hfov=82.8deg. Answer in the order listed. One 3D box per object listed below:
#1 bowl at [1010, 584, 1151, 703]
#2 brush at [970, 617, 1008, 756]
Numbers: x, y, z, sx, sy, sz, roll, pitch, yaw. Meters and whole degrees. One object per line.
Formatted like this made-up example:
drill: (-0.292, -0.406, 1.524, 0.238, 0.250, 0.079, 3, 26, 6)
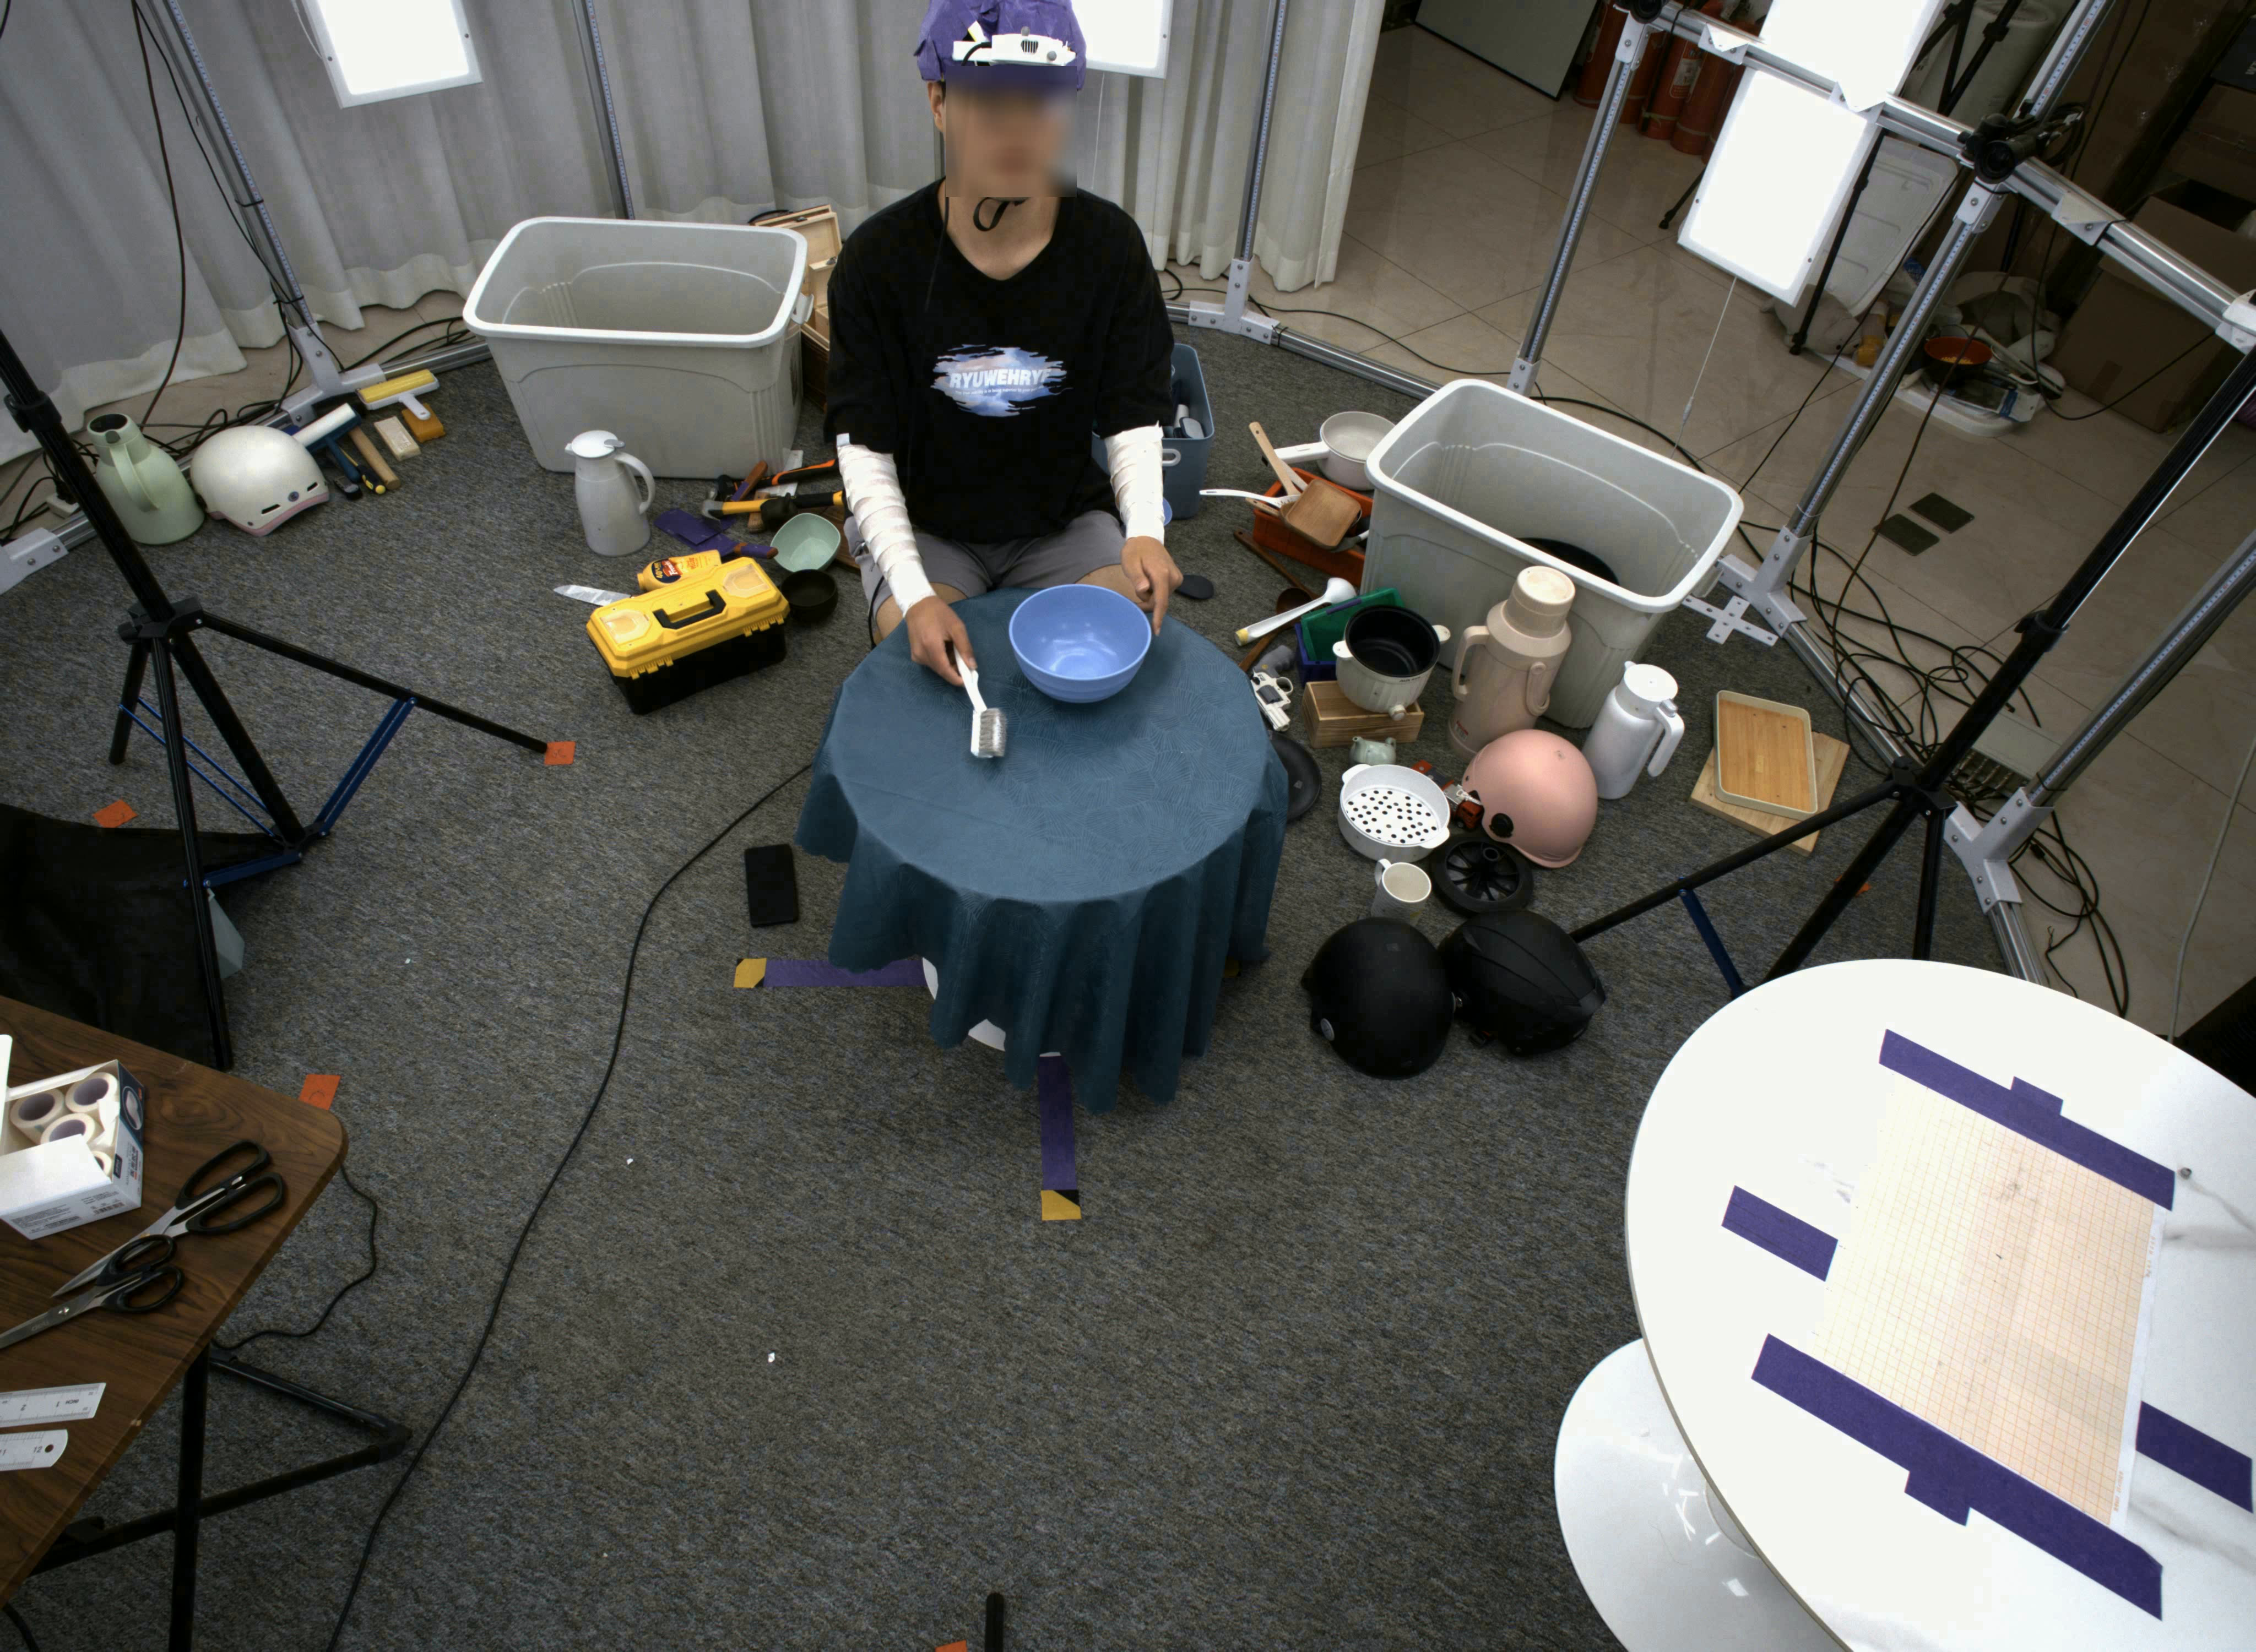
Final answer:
bowl: (-0.067, -0.243, 1.817, 0.196, 0.093, 0.201, 1, 50, -2)
brush: (-0.190, -0.201, 1.776, 0.034, 0.050, 0.249, 23, 50, -34)
